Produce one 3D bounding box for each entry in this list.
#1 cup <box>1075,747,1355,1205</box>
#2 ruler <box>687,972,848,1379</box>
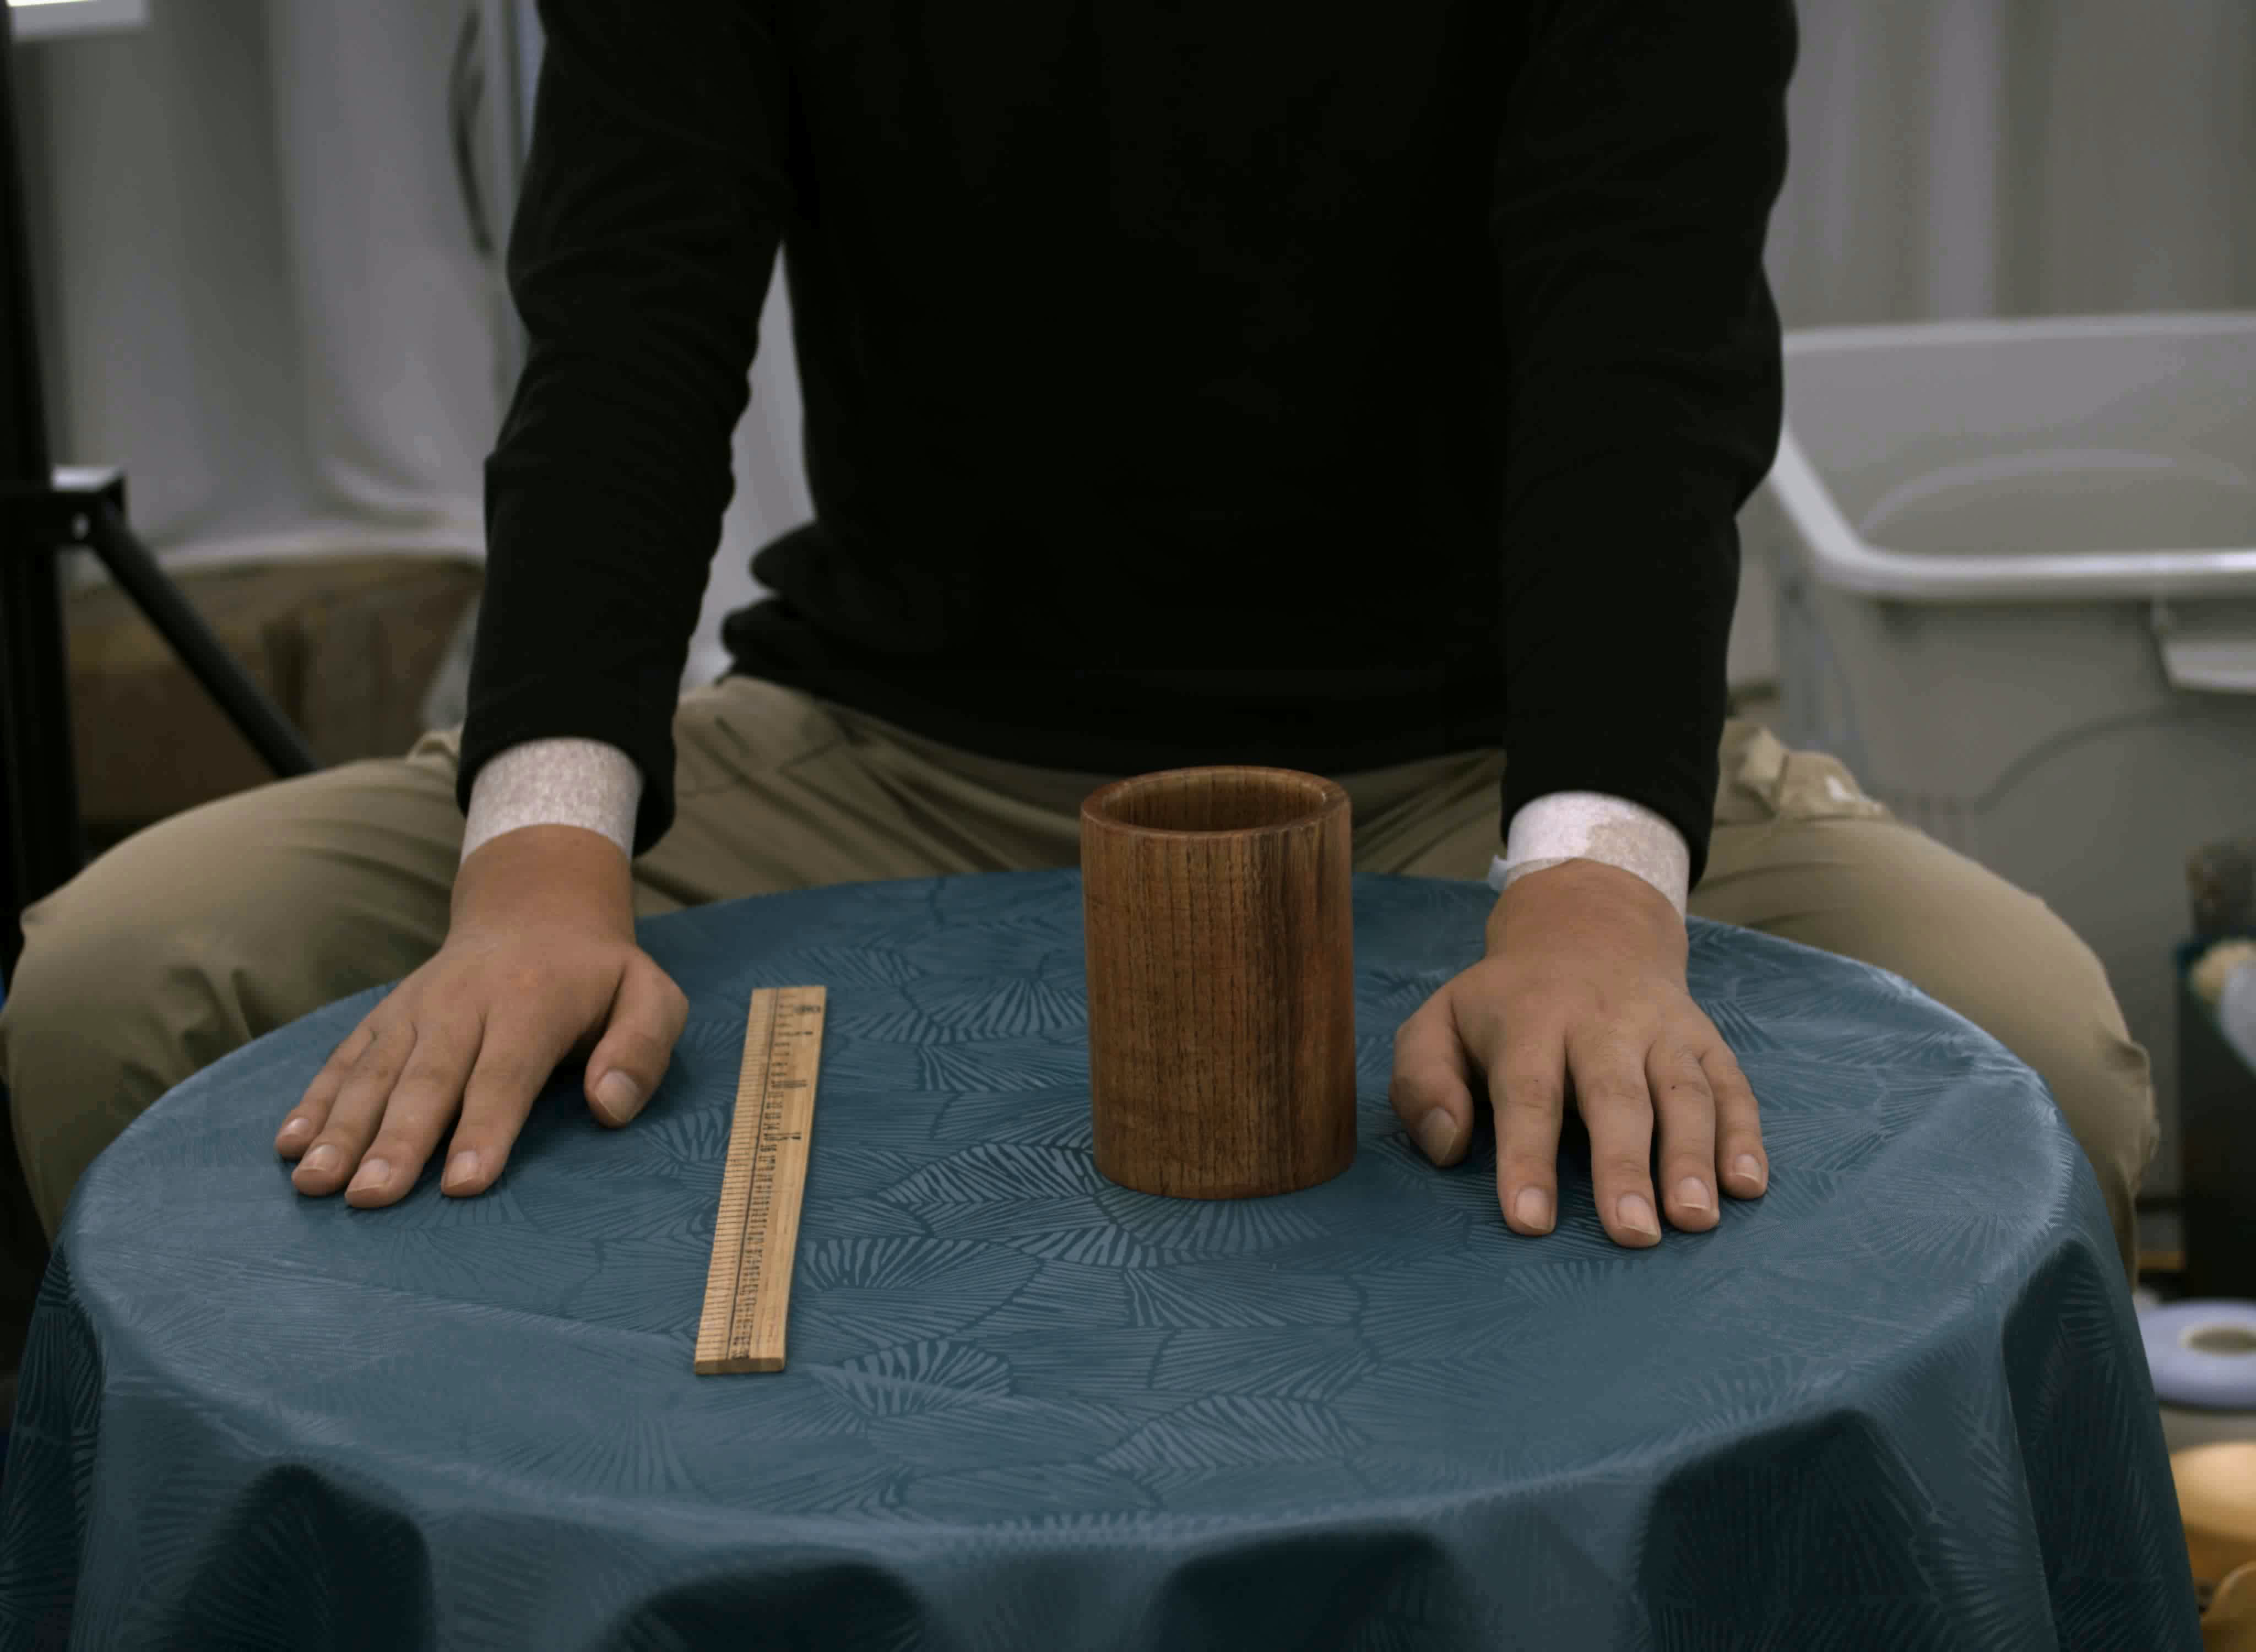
[{"bbox_3d":[0.026,0.043,1.568,0.087,0.118,0.088,-1,15,-1],"label":"cup"},{"bbox_3d":[-0.106,0.097,1.594,0.027,0.022,0.333,2,16,0],"label":"ruler"}]
